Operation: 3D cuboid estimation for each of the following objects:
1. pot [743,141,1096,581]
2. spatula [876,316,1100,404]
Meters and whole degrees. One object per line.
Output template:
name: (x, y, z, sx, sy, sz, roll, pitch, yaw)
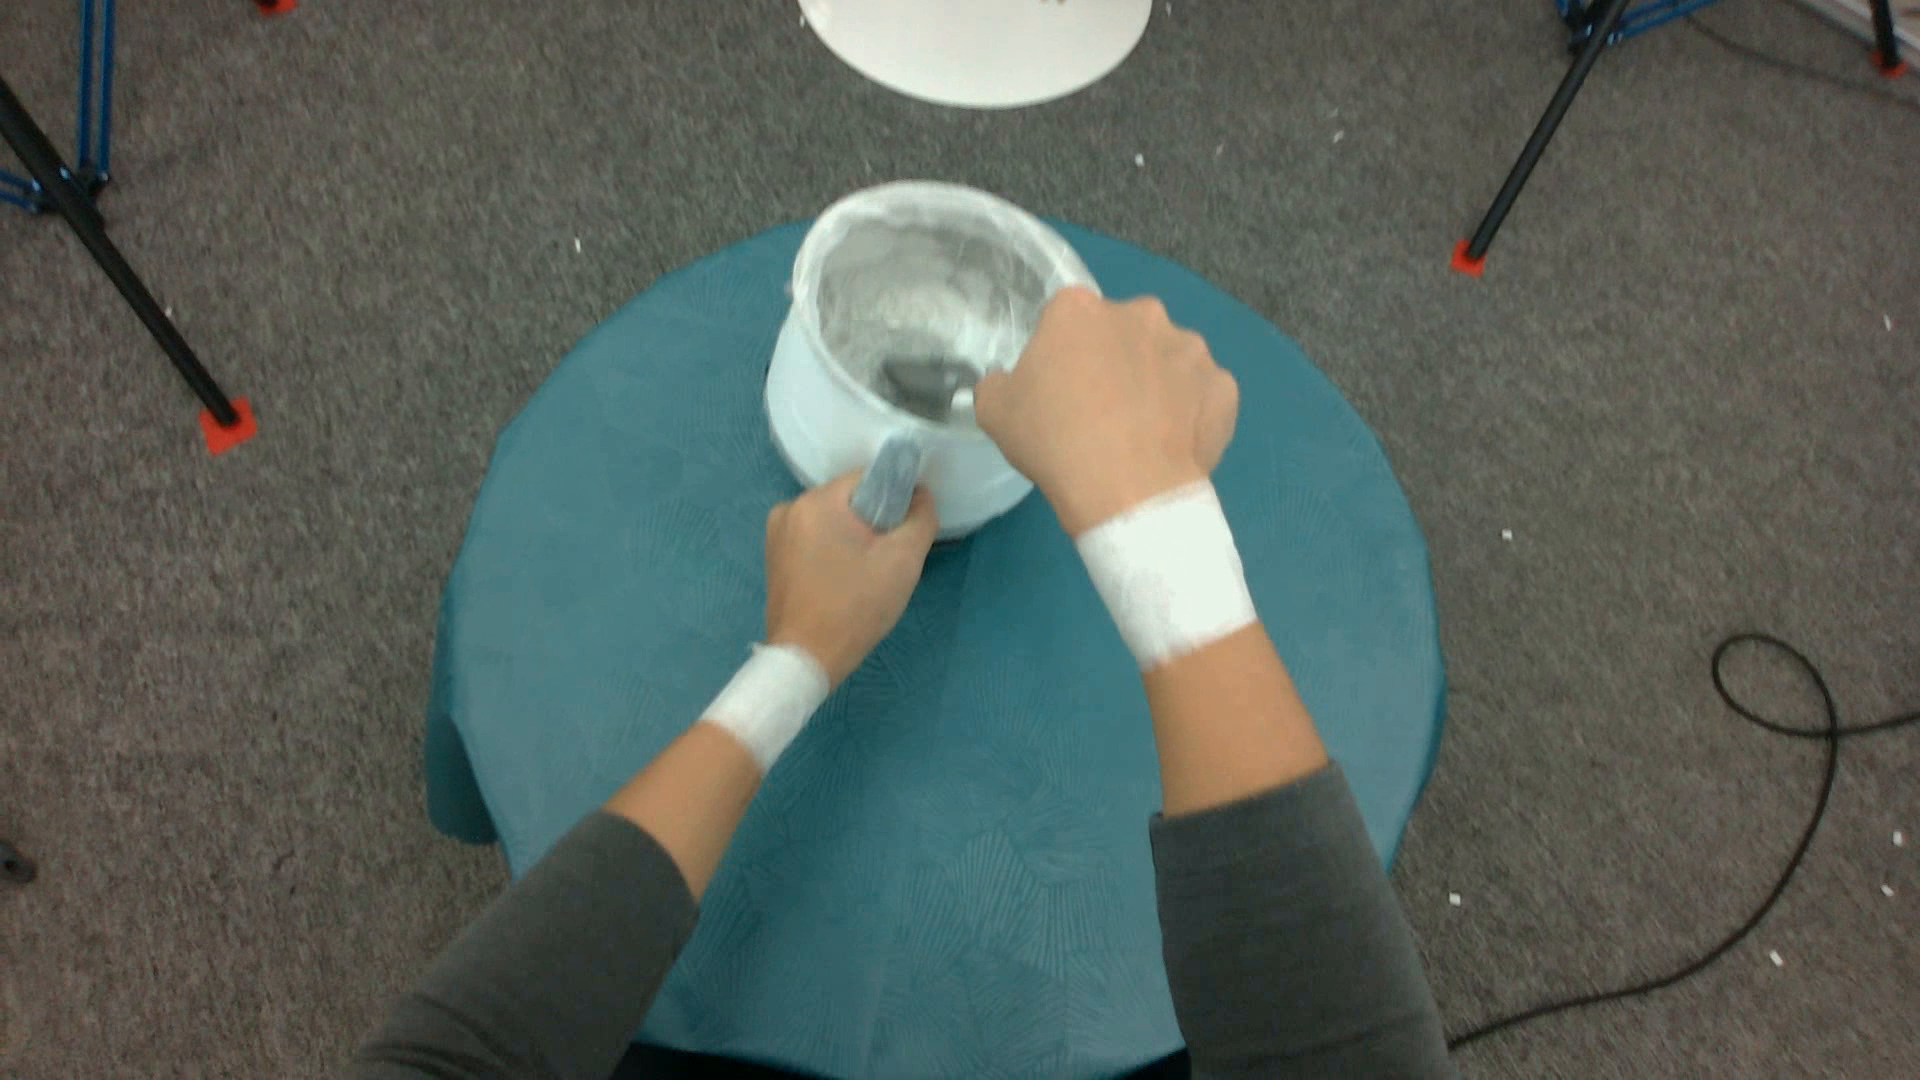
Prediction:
pot: (-0.034, -0.094, 0.772, 0.179, 0.136, 0.235, 19, 56, -7)
spatula: (0.008, -0.097, 0.689, 0.059, 0.288, 0.032, -5, 102, -13)
